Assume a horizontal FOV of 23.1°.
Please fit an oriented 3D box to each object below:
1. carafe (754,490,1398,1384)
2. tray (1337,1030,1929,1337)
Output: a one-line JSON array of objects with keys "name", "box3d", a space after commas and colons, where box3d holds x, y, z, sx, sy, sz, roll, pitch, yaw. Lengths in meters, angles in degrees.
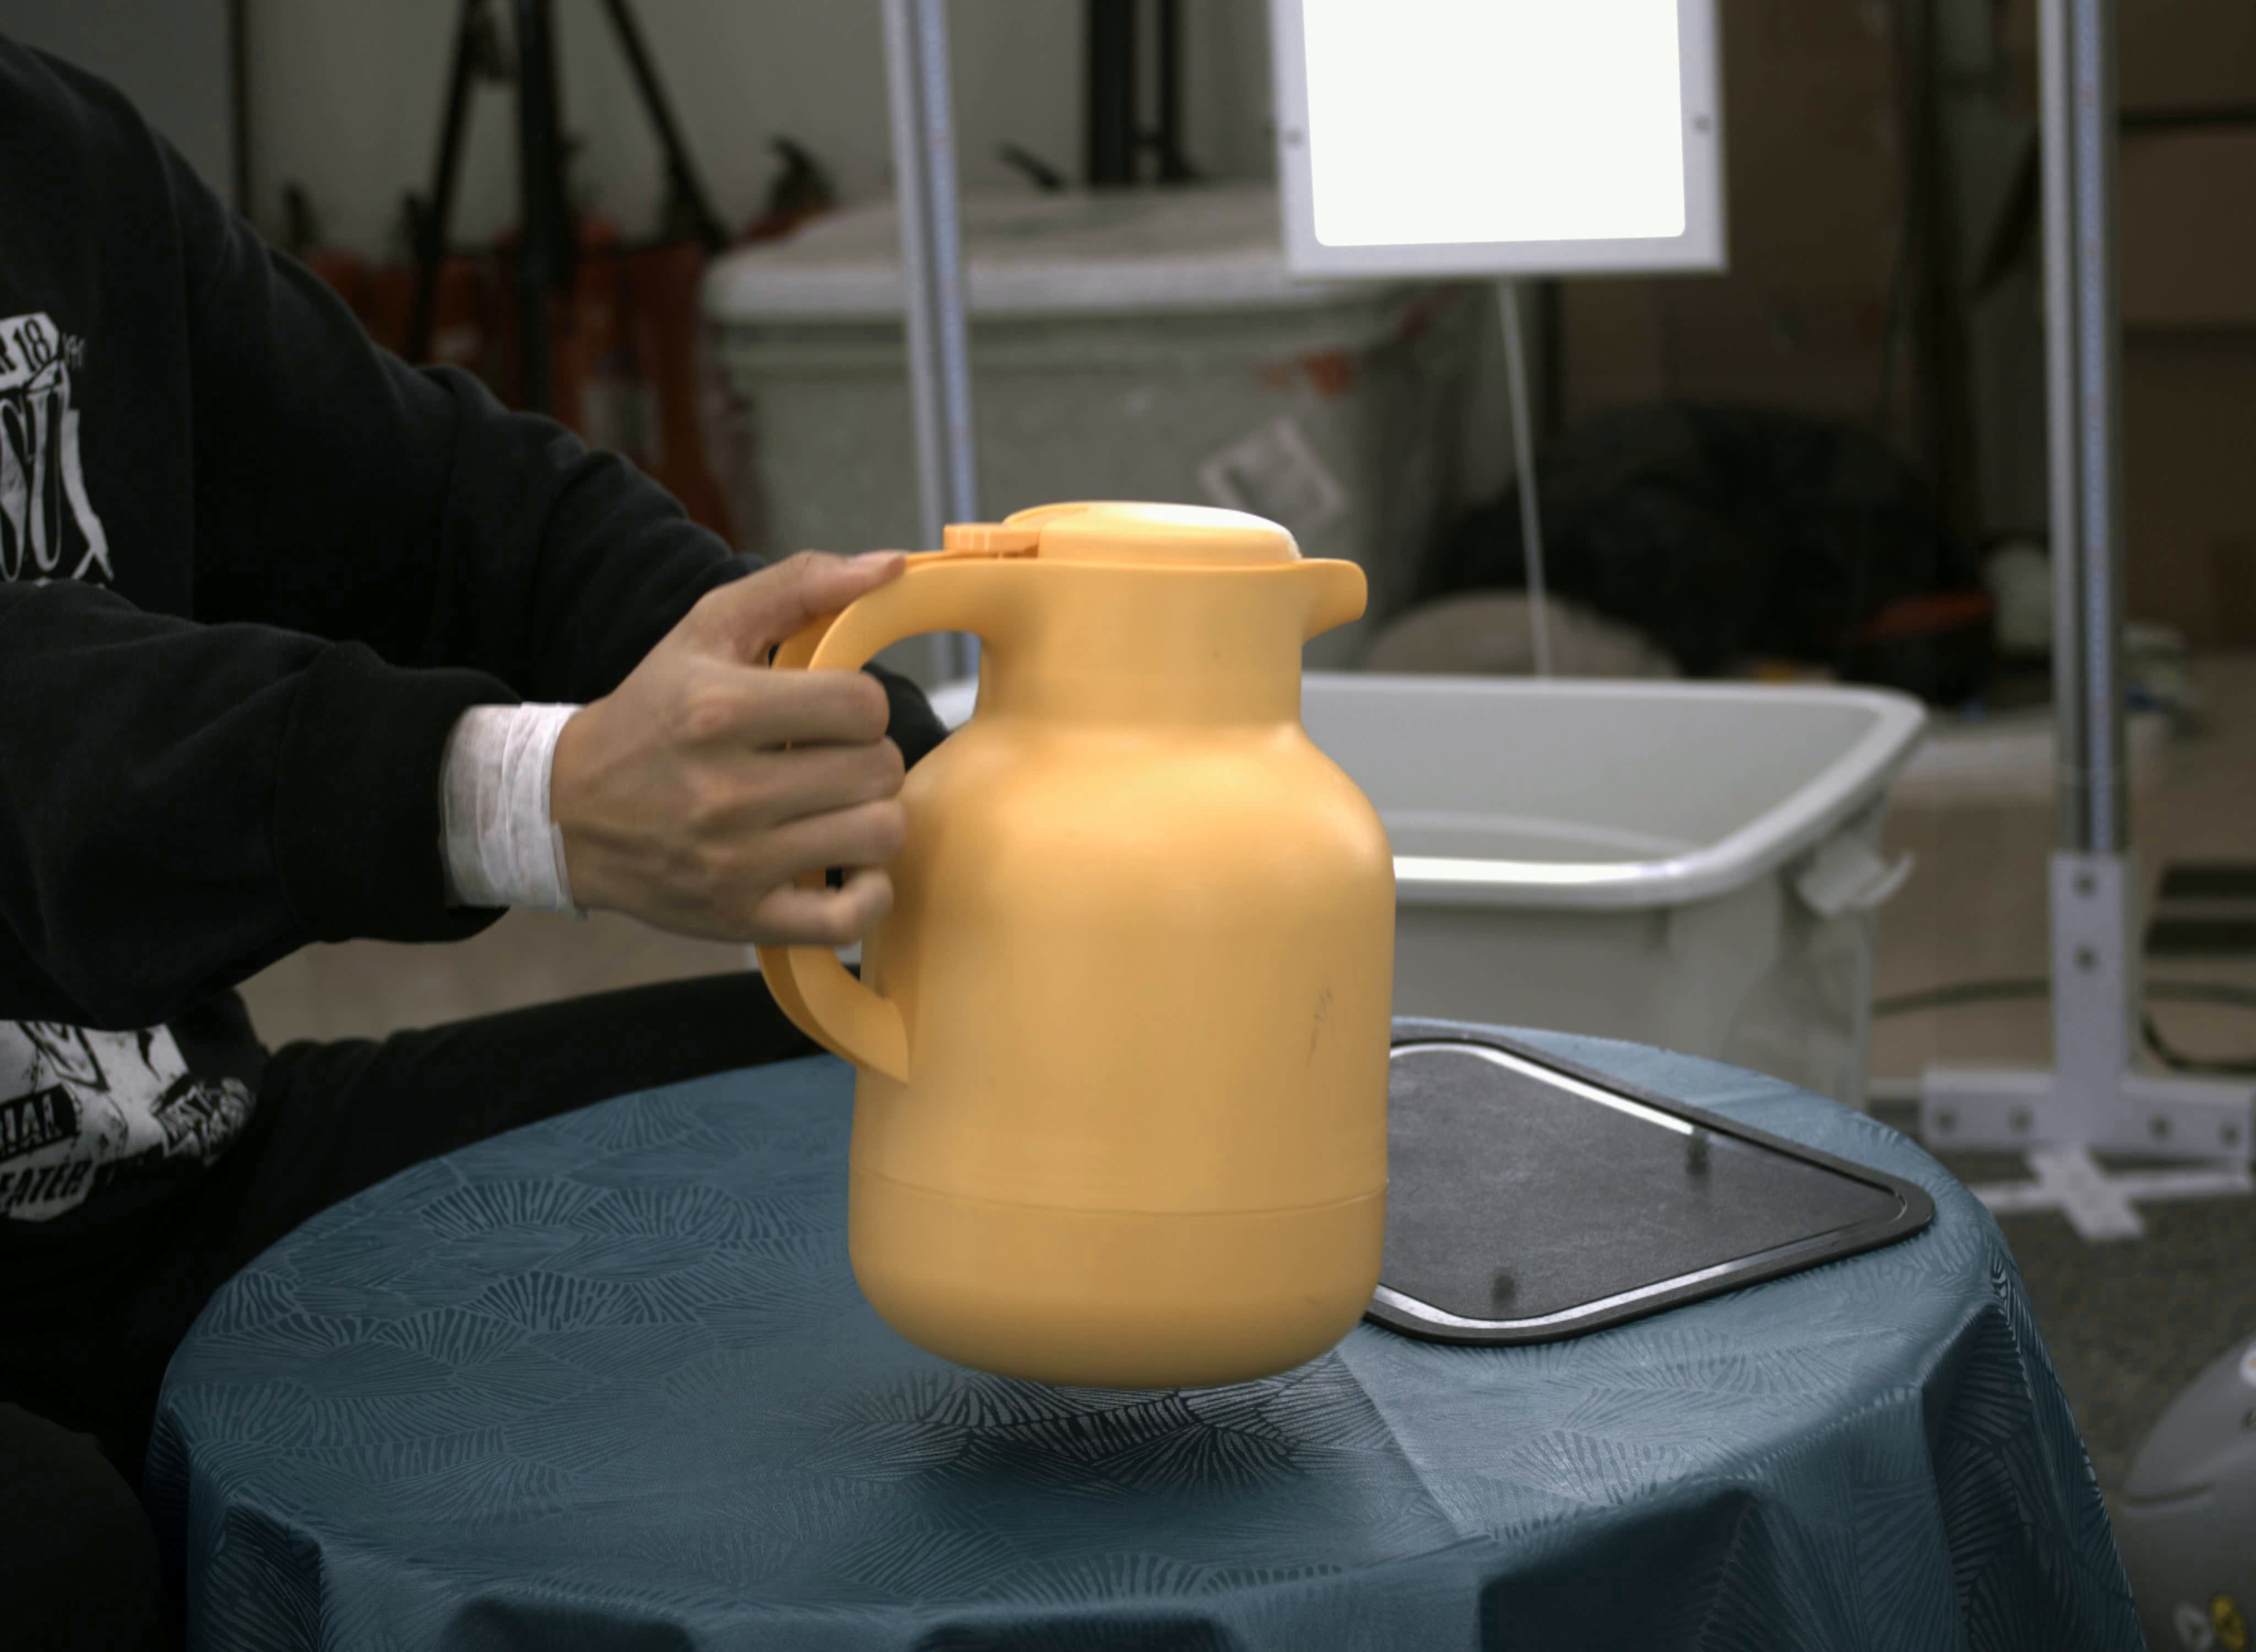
[{"name": "carafe", "box3d": [-0.018, 0.030, 1.647, 0.198, 0.261, 0.166, 1, 5, -25]}, {"name": "tray", "box3d": [0.108, 0.115, 1.879, 0.206, 0.010, 0.331, -12, 17, -29]}]
